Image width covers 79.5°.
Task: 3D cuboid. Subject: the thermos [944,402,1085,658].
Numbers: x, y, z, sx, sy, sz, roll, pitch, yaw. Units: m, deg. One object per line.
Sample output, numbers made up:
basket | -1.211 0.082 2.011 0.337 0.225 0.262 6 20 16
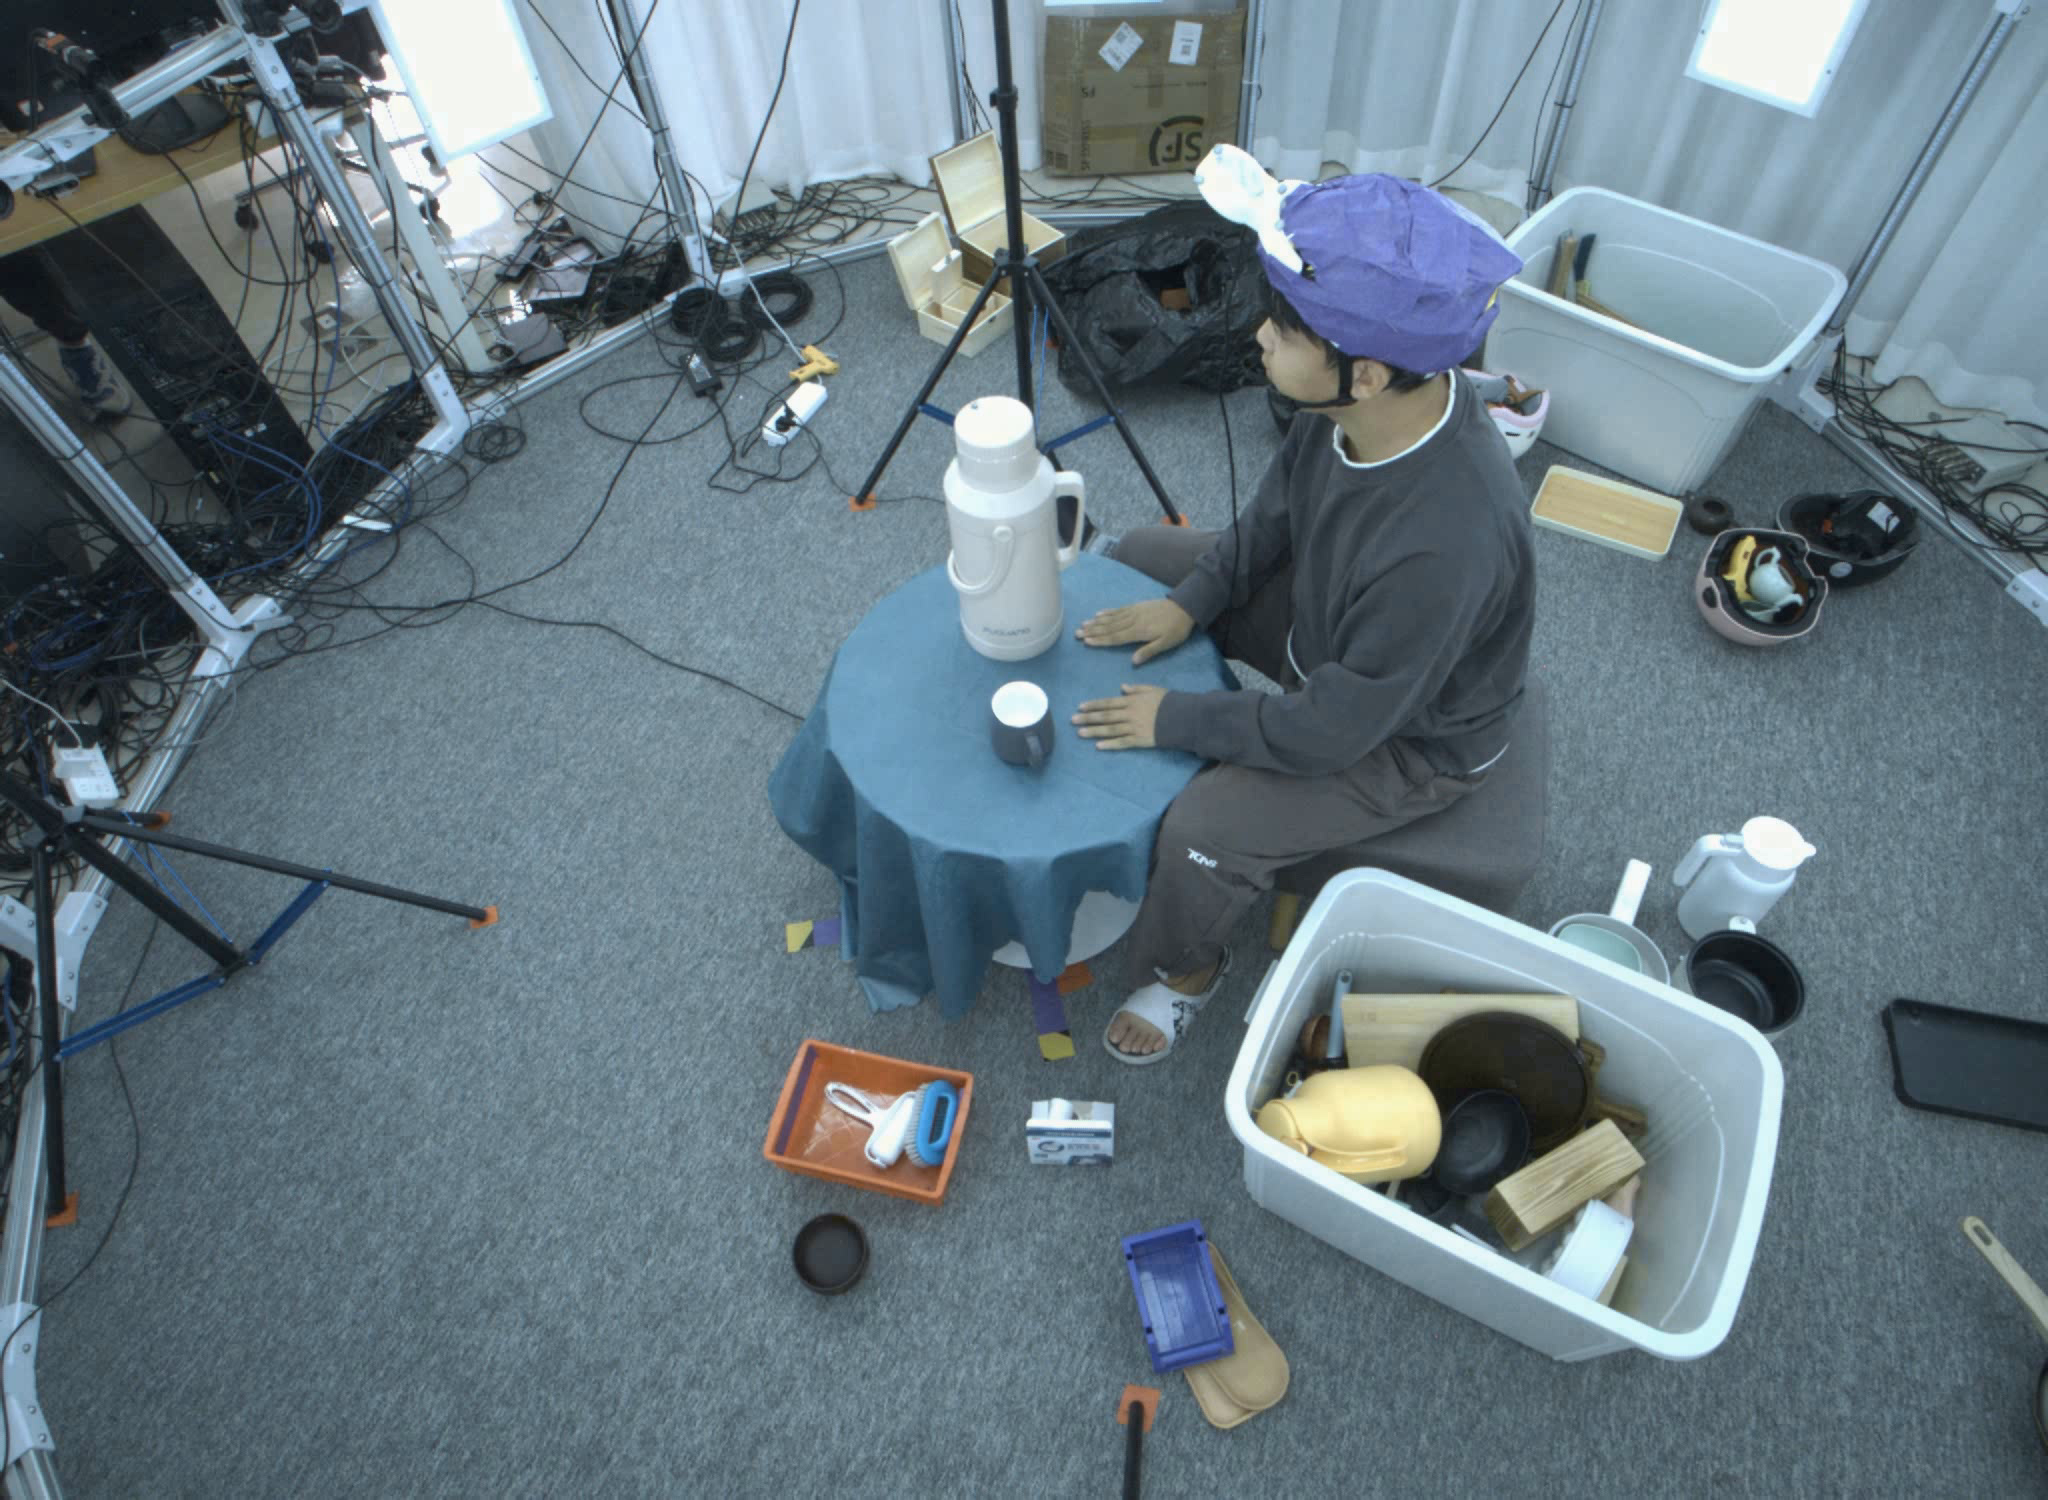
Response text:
thermos | -0.015 -0.318 1.768 0.207 0.411 0.173 -6 54 0

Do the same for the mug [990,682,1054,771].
mug | 0.000 -0.027 1.751 0.094 0.091 0.121 -15 55 -9
